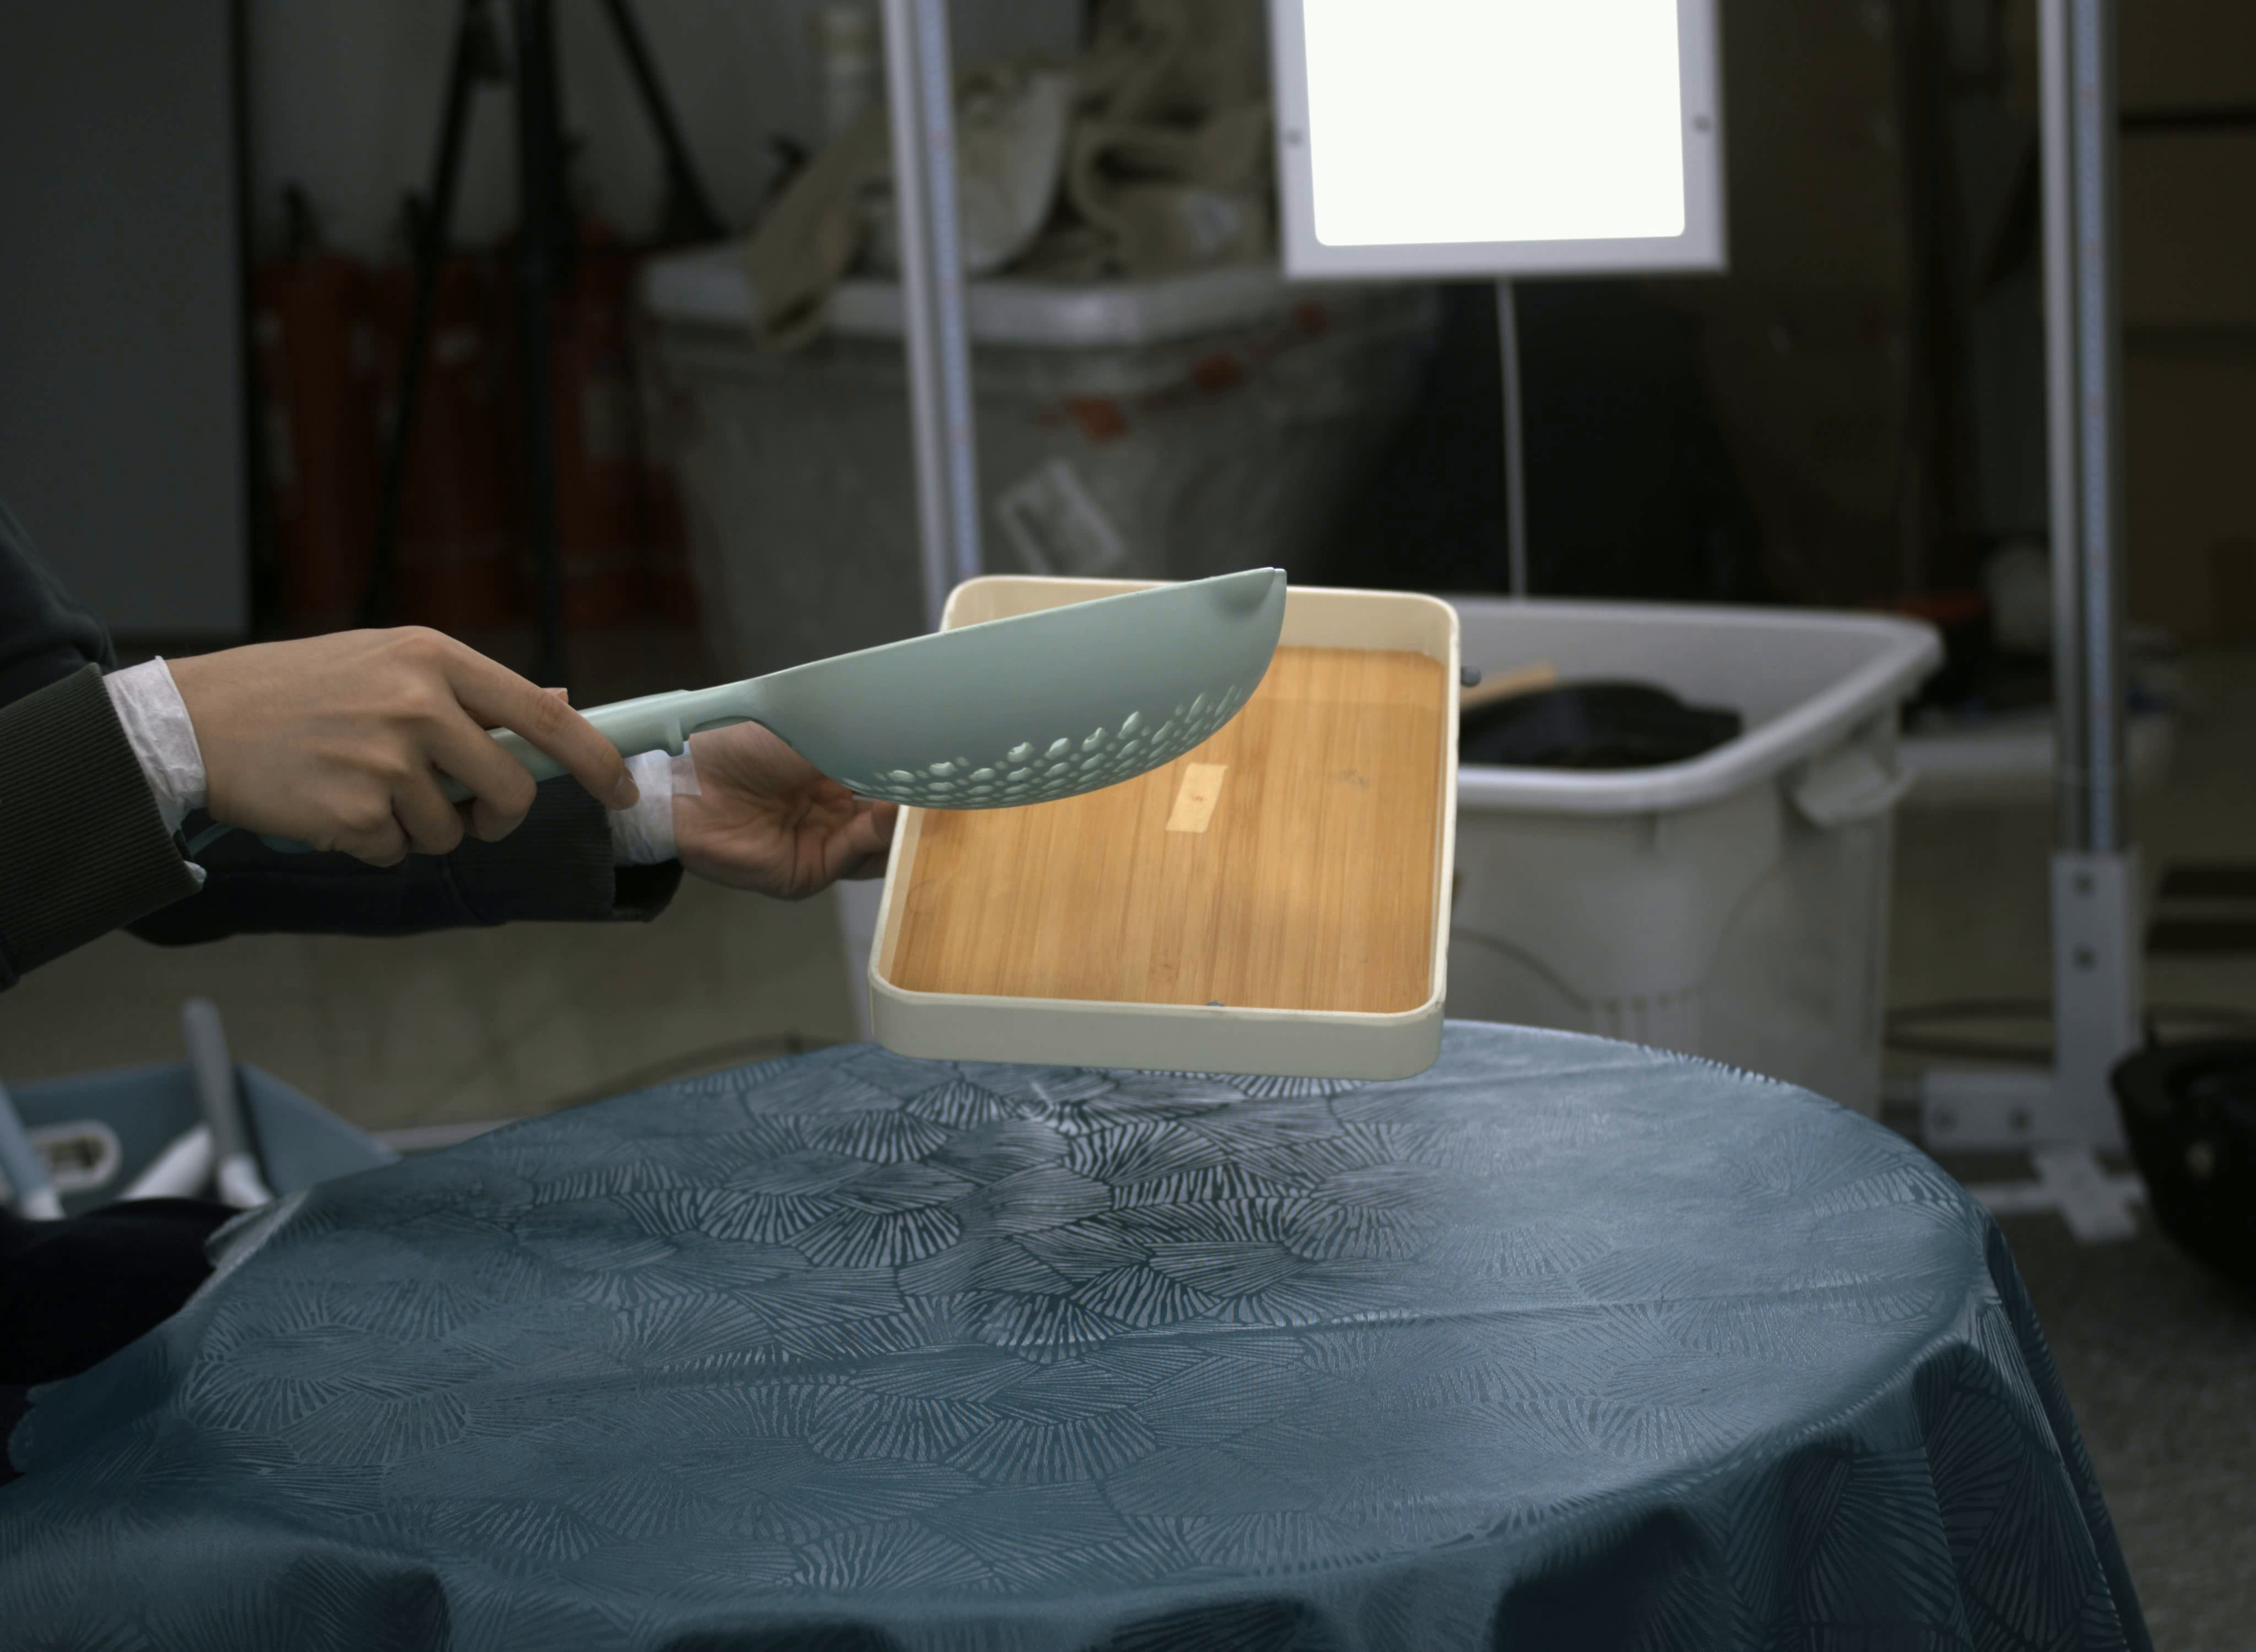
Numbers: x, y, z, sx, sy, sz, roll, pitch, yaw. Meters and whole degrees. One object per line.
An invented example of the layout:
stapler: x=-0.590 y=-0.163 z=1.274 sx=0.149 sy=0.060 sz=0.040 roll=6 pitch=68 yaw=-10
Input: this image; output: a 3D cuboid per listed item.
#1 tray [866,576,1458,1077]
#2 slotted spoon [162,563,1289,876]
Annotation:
tray: x=0.018 y=-0.005 z=1.913 sx=0.192 sy=0.027 sz=0.298 roll=2 pitch=30 yaw=5
slotted spoon: x=-0.124 y=-0.034 z=1.727 sx=0.356 sy=0.075 sz=0.170 roll=-4 pitch=-1 yaw=-6
